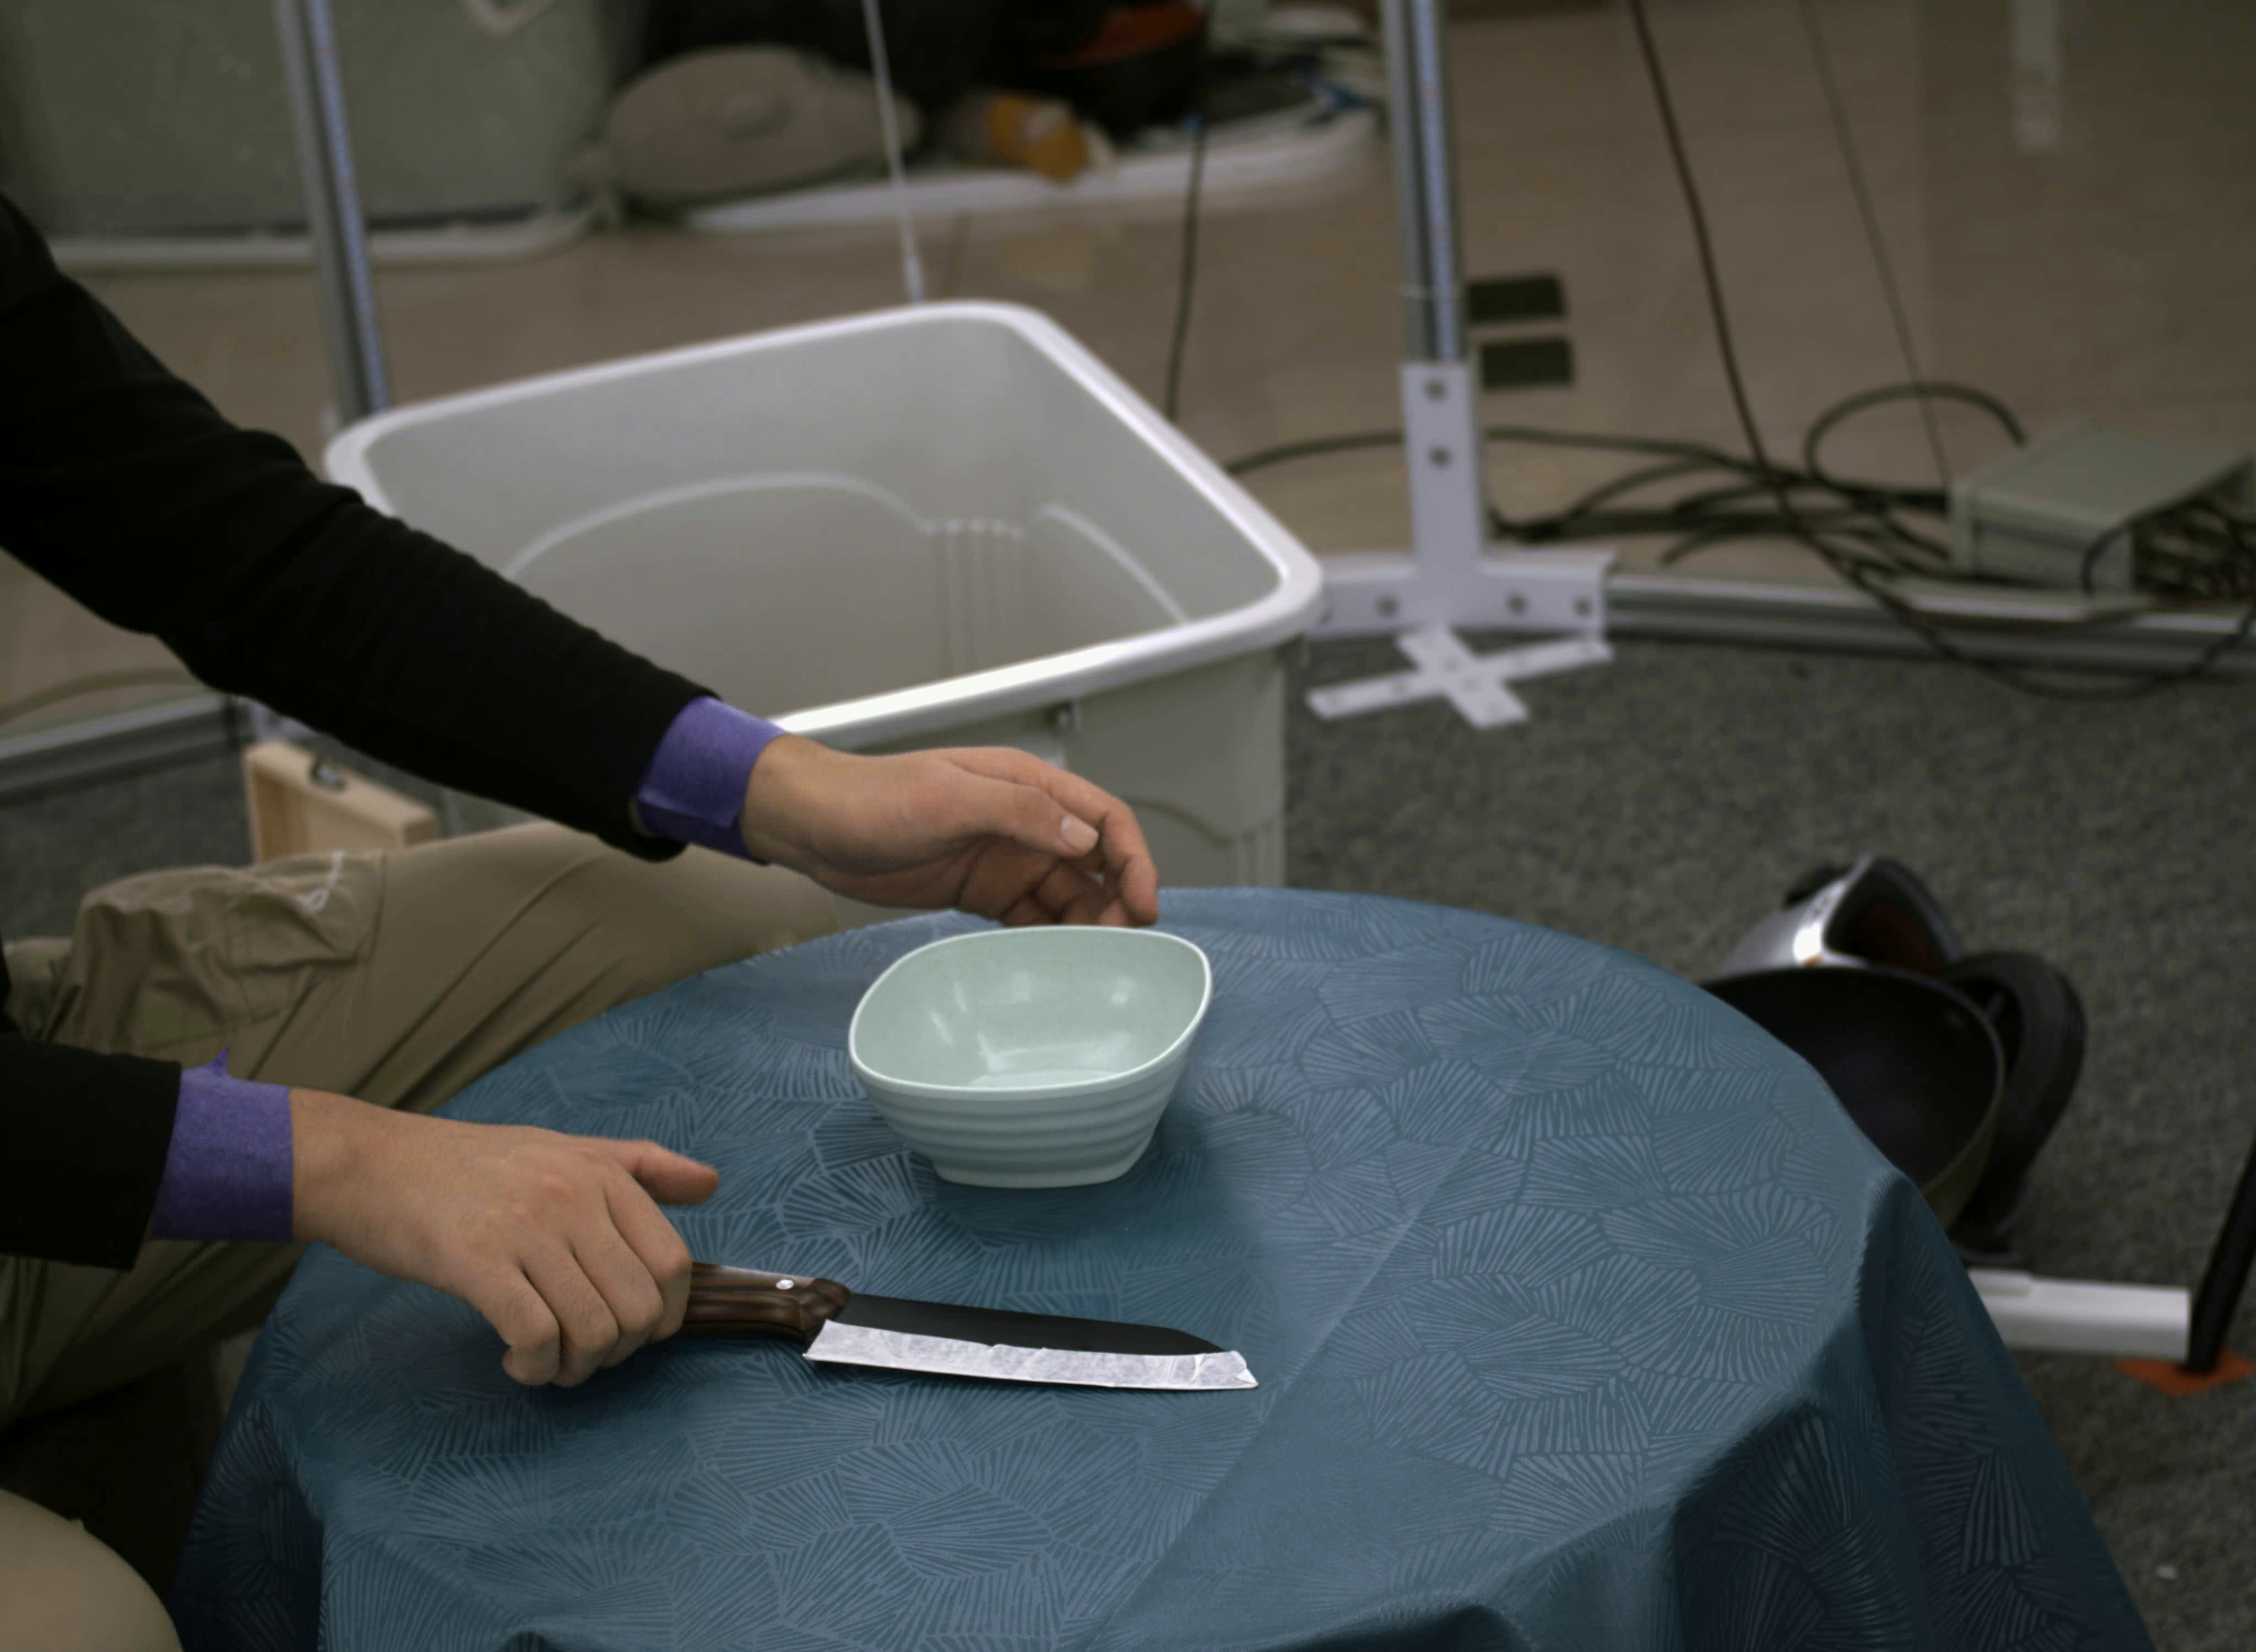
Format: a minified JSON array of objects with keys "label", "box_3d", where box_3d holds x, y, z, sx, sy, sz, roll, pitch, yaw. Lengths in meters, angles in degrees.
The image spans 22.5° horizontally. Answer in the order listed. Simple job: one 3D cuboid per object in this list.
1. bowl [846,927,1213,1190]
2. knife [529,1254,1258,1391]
[{"label":"bowl","box_3d":[-0.036,0.095,2.186,0.151,0.059,0.149,-4,26,2]},{"label":"knife","box_3d":[-0.089,0.182,2.061,0.288,0.020,0.049,6,32,19]}]
